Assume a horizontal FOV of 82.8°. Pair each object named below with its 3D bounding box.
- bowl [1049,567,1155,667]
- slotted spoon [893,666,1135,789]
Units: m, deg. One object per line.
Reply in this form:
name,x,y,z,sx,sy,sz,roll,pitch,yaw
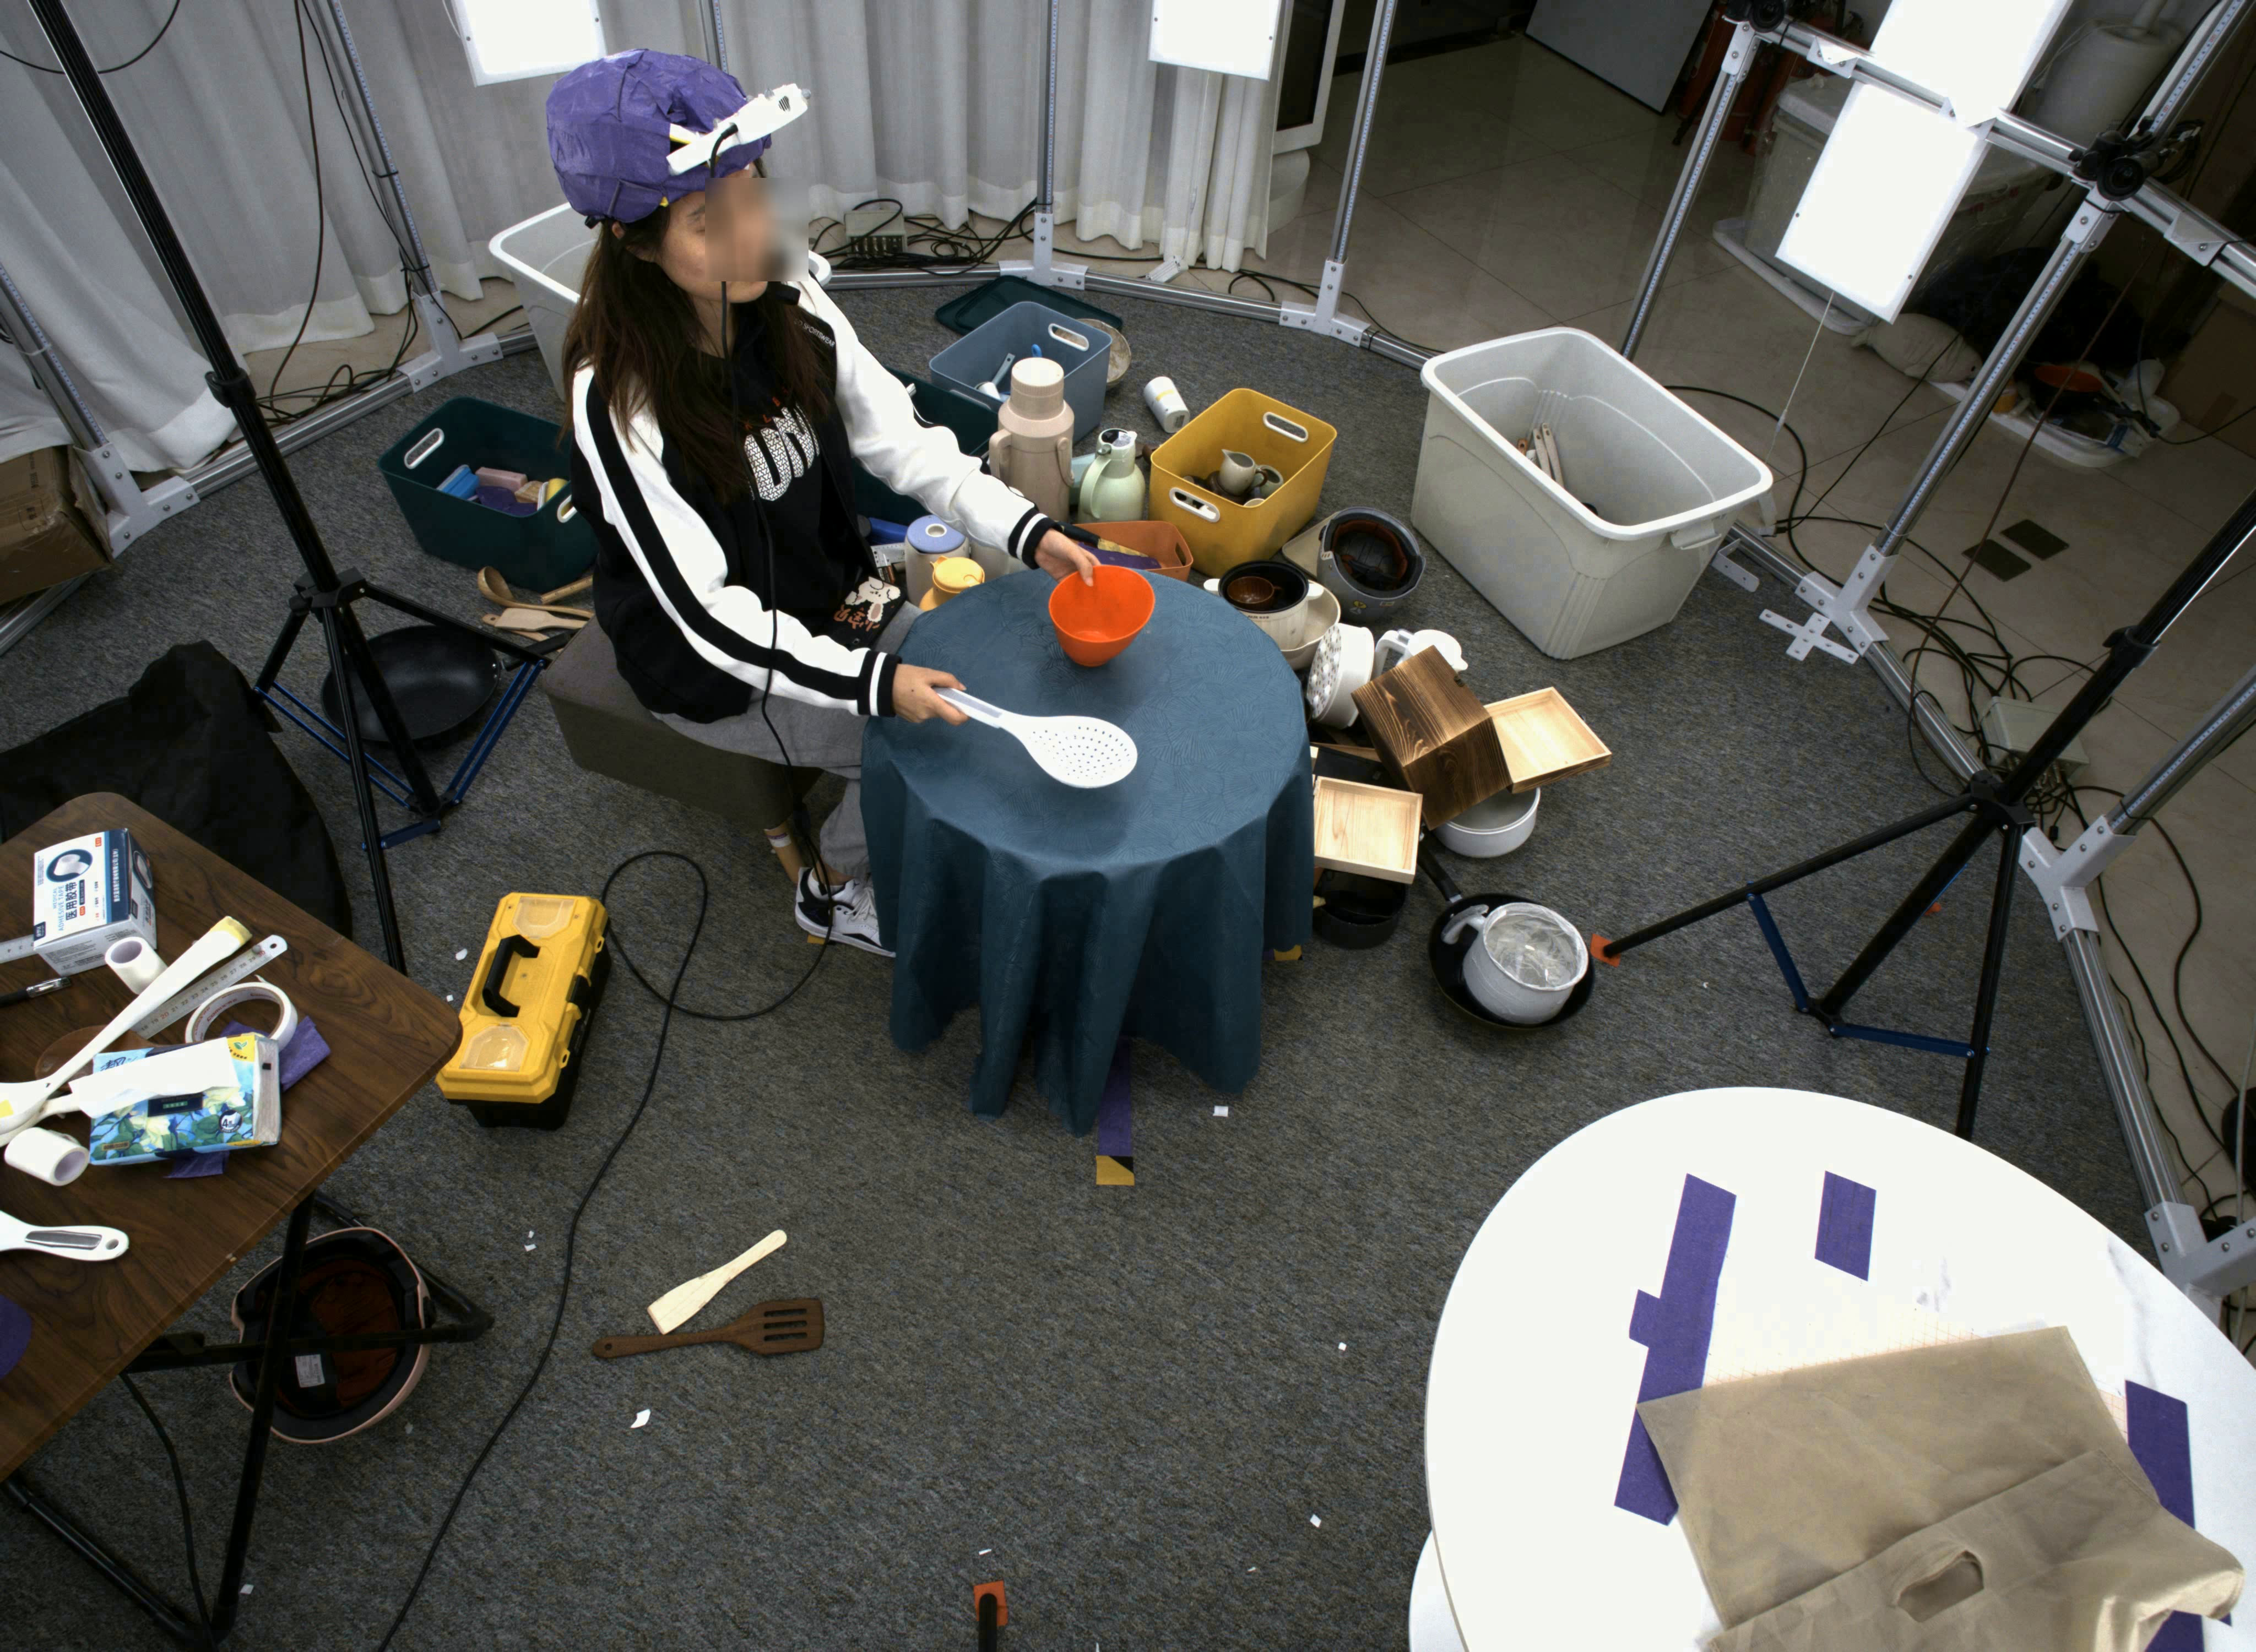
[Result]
bowl,-0.040,-0.287,1.837,0.148,0.102,0.151,3,53,-4
slotted spoon,-0.155,-0.136,1.685,0.352,0.045,0.138,27,44,12
